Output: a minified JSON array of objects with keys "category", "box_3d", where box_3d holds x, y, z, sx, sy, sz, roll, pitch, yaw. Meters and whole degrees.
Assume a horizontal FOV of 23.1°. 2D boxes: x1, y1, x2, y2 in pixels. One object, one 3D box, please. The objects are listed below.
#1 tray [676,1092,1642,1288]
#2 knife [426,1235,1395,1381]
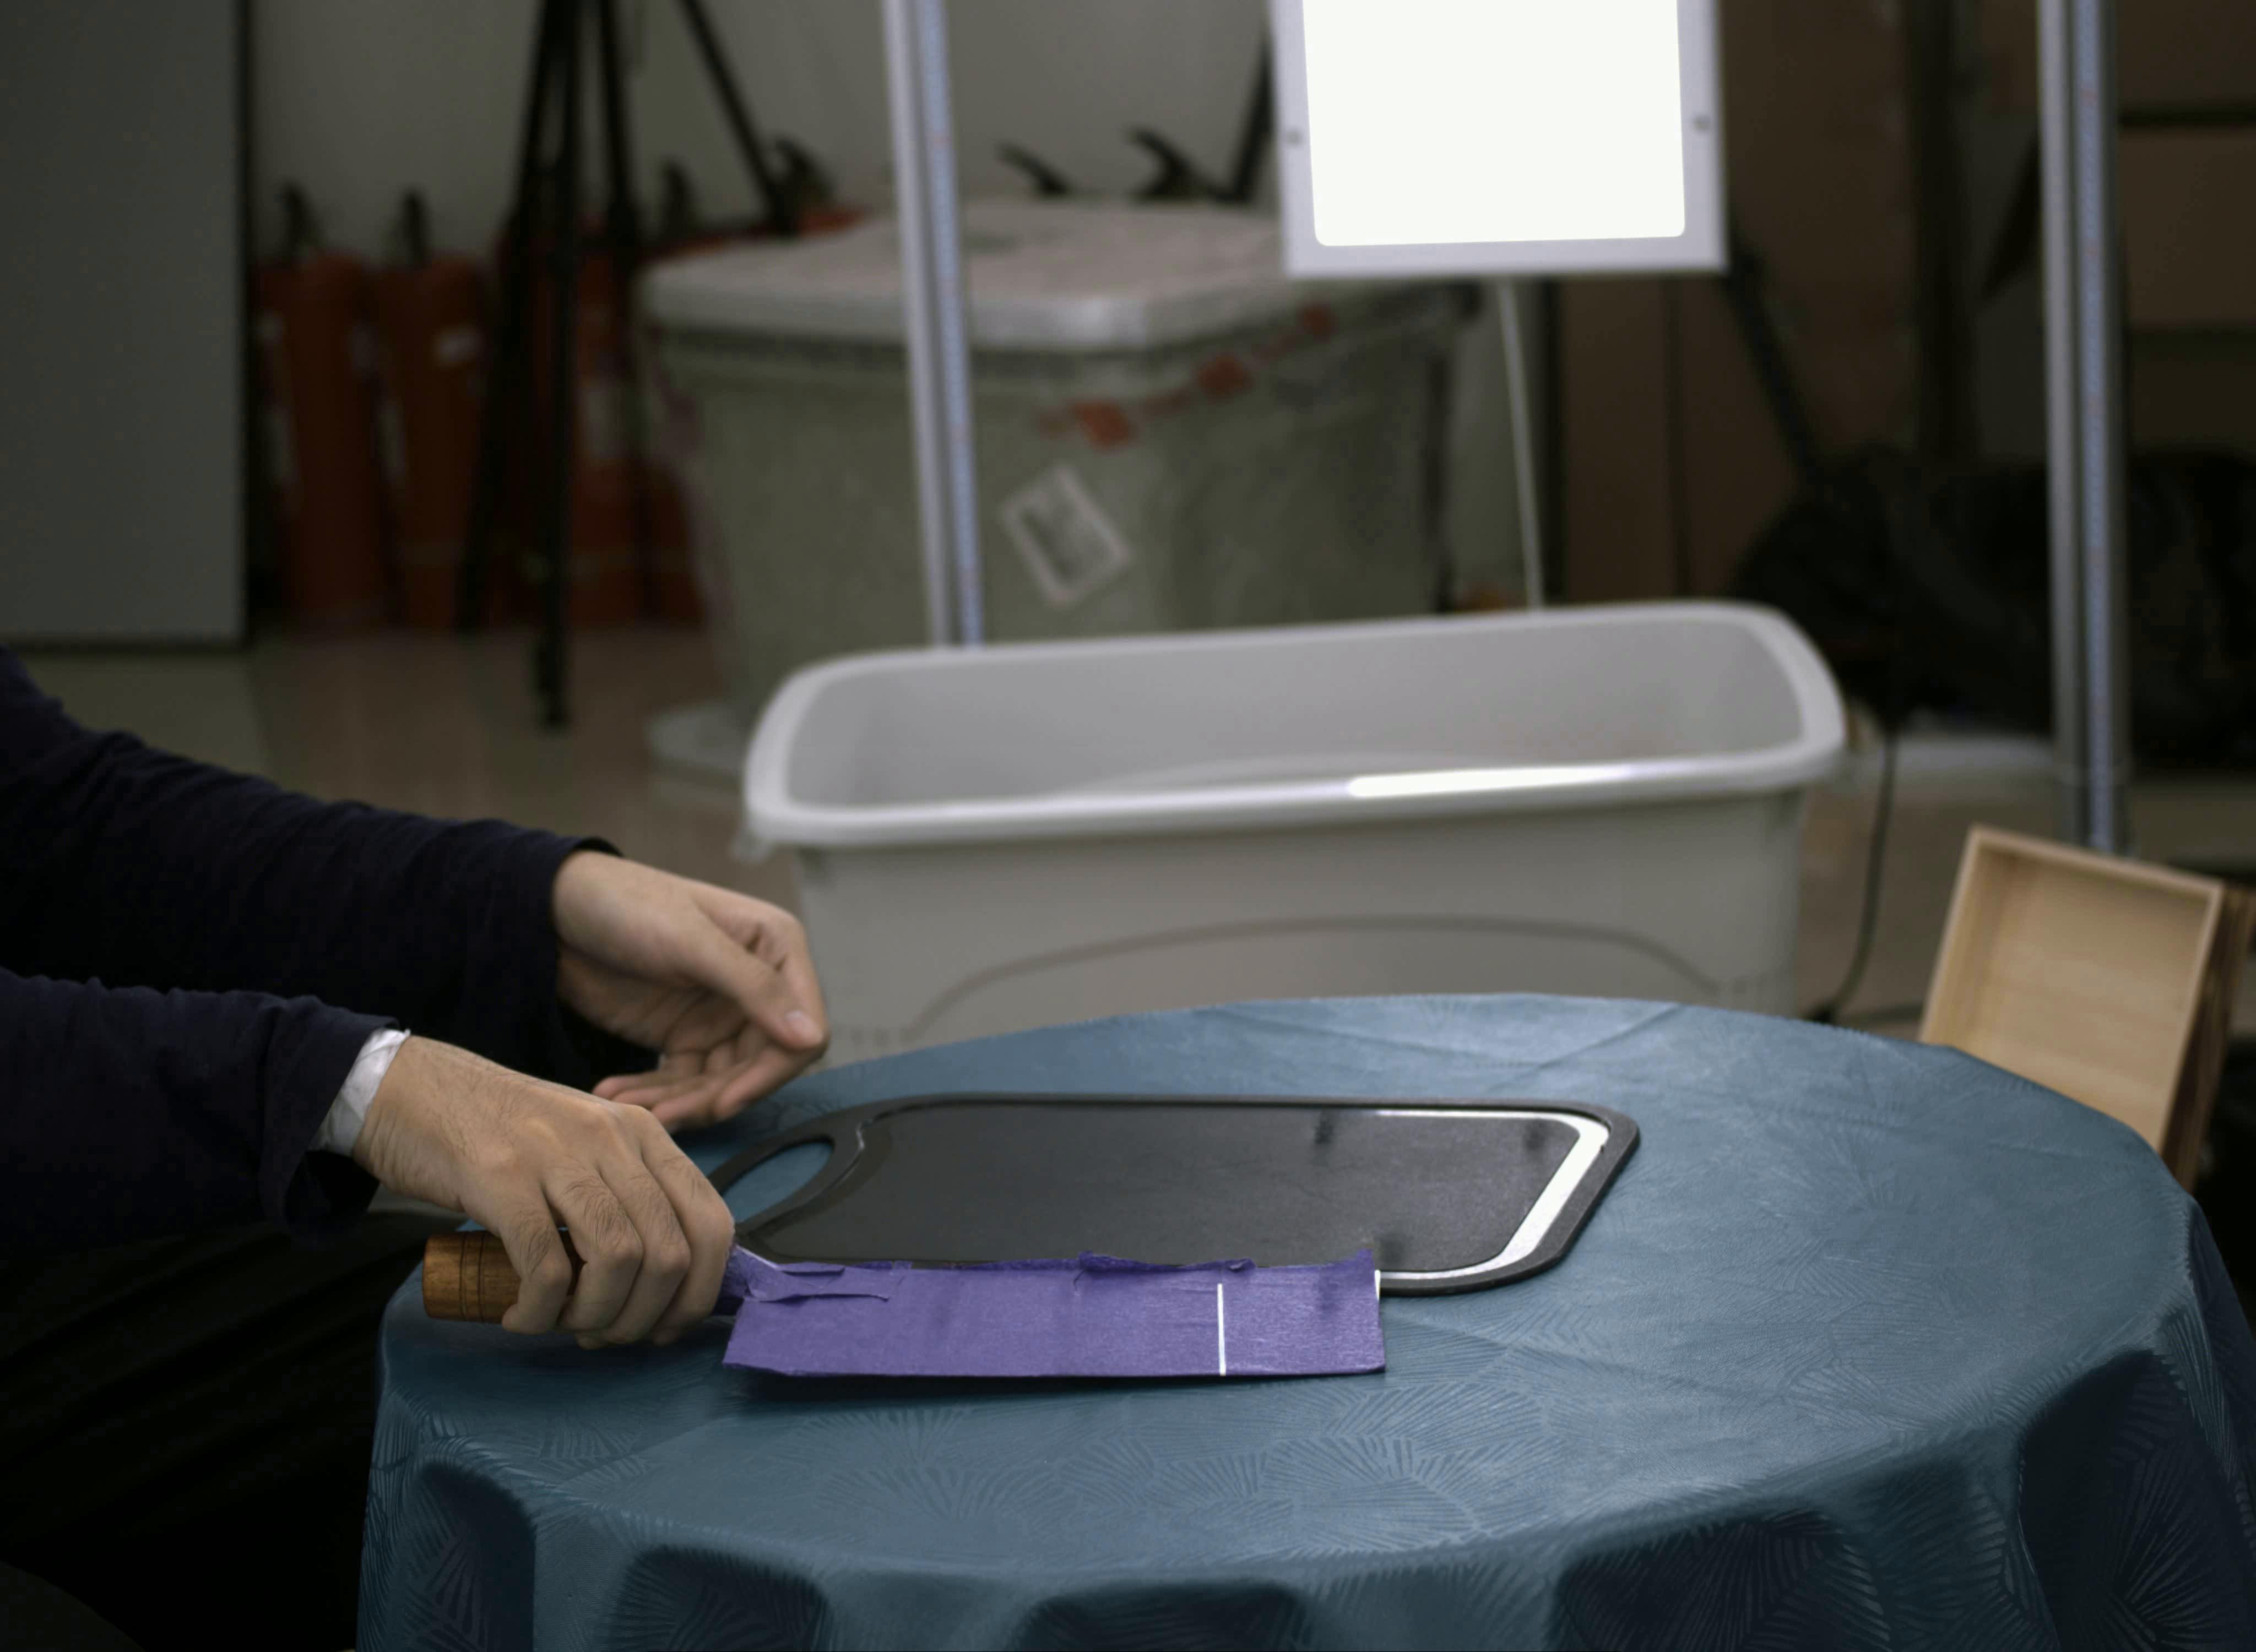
[{"category":"tray","box_3d":[0.006,0.123,1.900,0.329,0.010,0.207,0,14,19]},{"category":"knife","box_3d":[-0.072,0.152,1.755,0.316,0.032,0.103,-3,15,5]}]
